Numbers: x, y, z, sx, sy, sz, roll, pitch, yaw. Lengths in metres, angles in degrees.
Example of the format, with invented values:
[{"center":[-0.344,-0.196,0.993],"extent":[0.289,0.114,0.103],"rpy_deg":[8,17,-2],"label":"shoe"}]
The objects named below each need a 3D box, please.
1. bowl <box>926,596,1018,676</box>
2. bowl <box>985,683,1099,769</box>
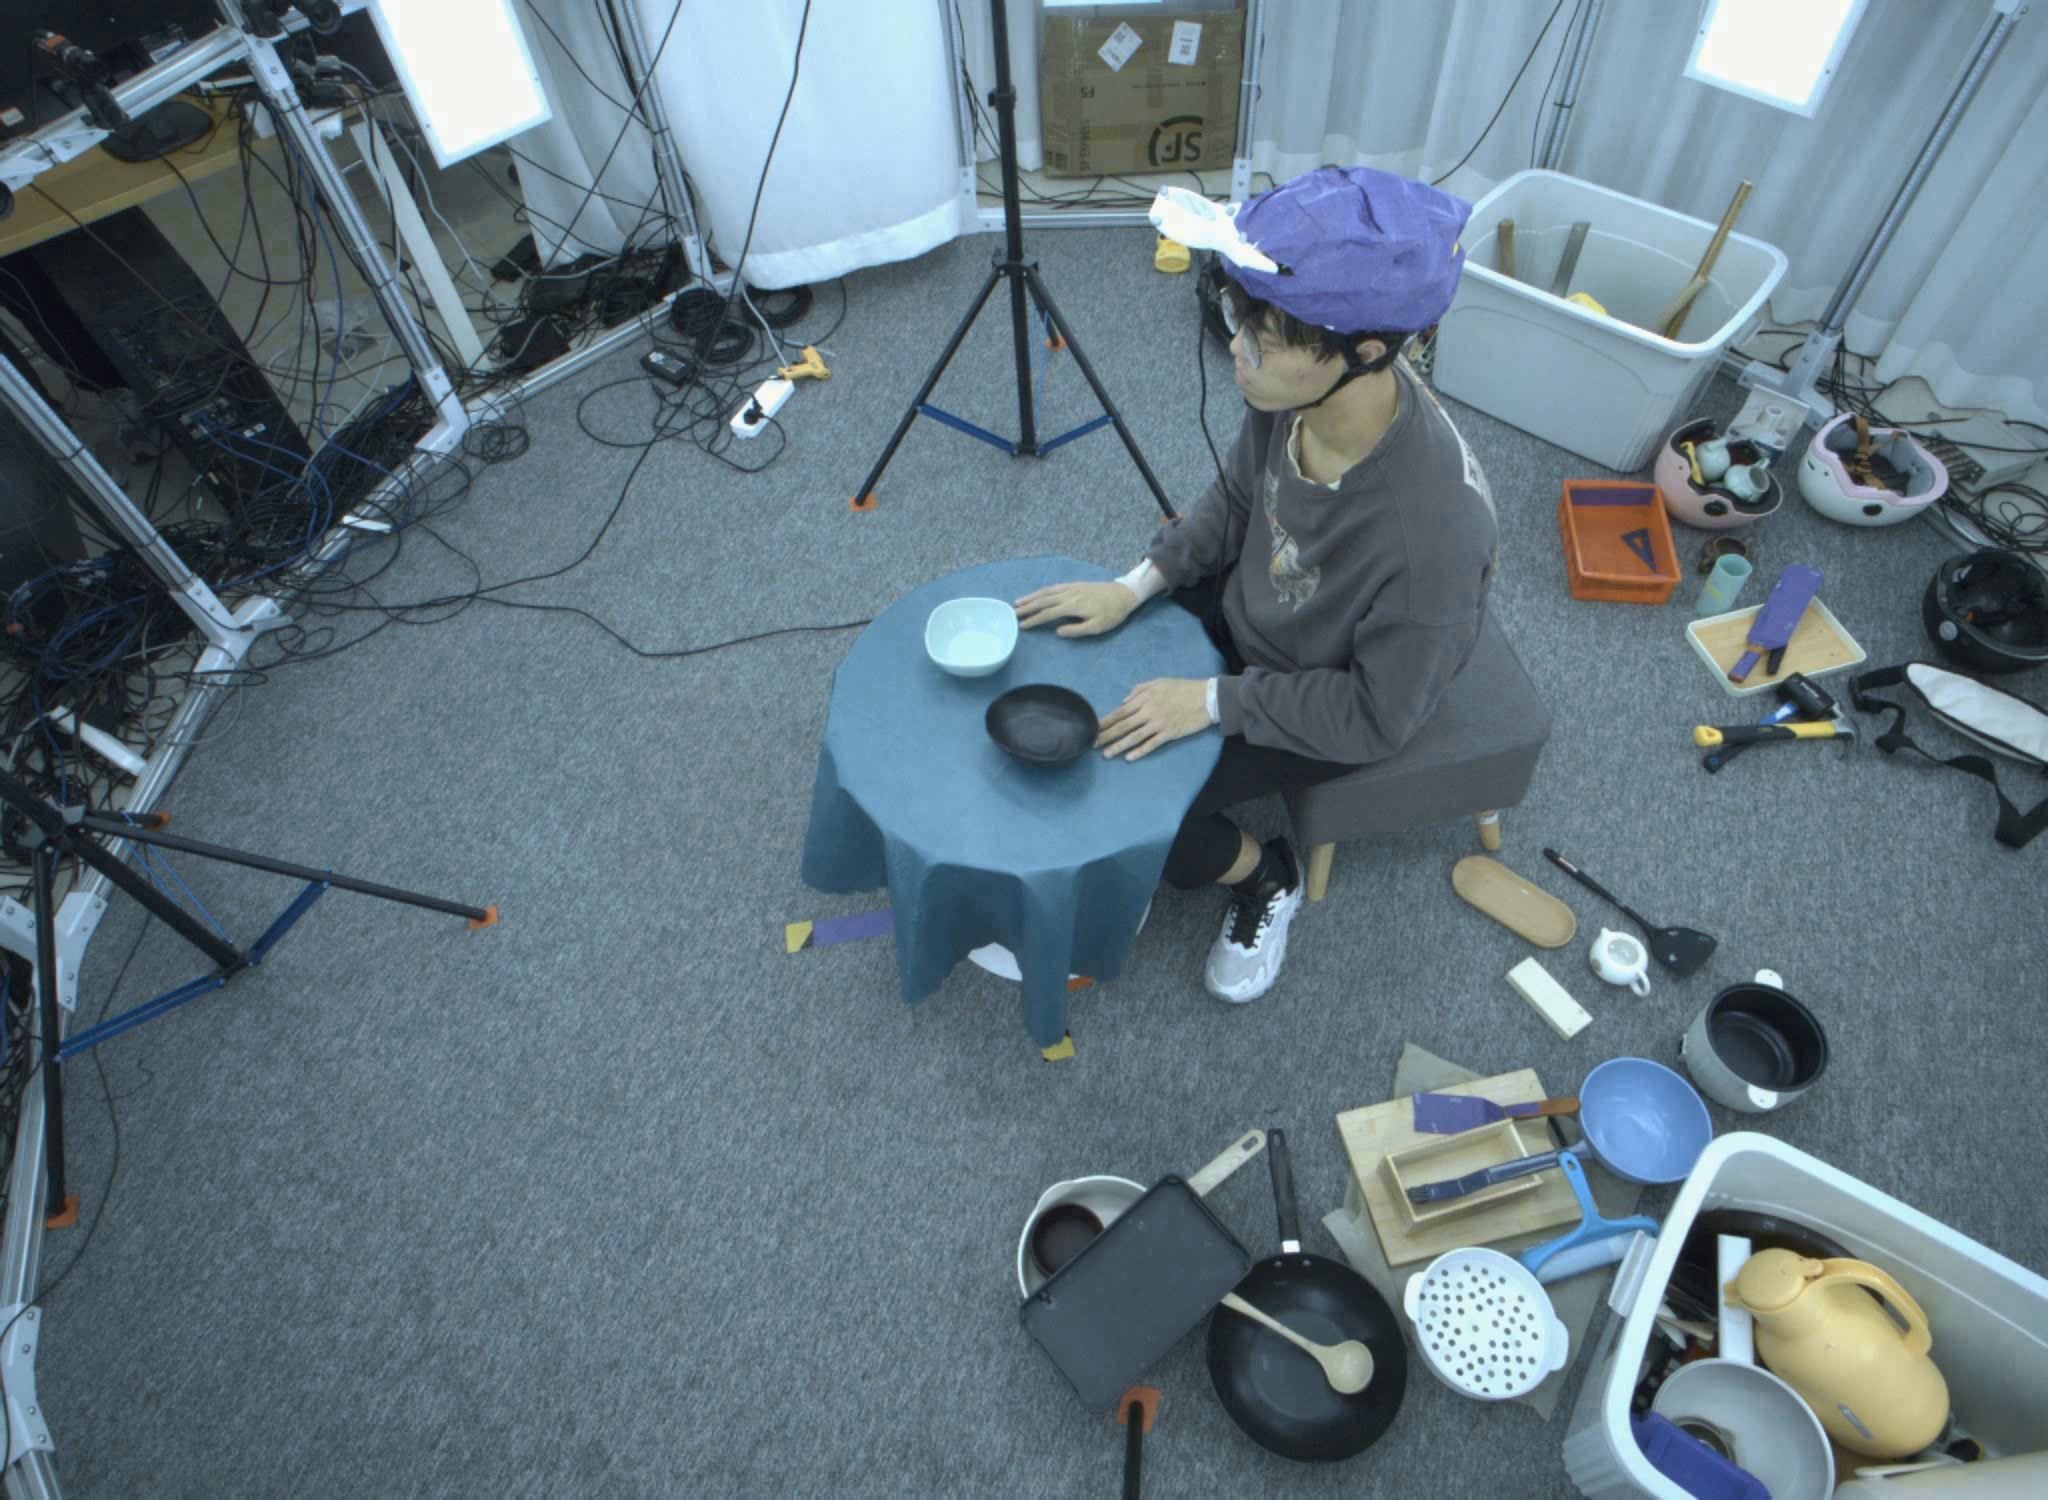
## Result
[{"center":[-0.076,-0.164,1.870],"extent":[0.151,0.059,0.150],"rpy_deg":[-1,56,3],"label":"bowl"},{"center":[0.025,-0.024,1.762],"extent":[0.168,0.067,0.137],"rpy_deg":[17,57,16],"label":"bowl"}]
